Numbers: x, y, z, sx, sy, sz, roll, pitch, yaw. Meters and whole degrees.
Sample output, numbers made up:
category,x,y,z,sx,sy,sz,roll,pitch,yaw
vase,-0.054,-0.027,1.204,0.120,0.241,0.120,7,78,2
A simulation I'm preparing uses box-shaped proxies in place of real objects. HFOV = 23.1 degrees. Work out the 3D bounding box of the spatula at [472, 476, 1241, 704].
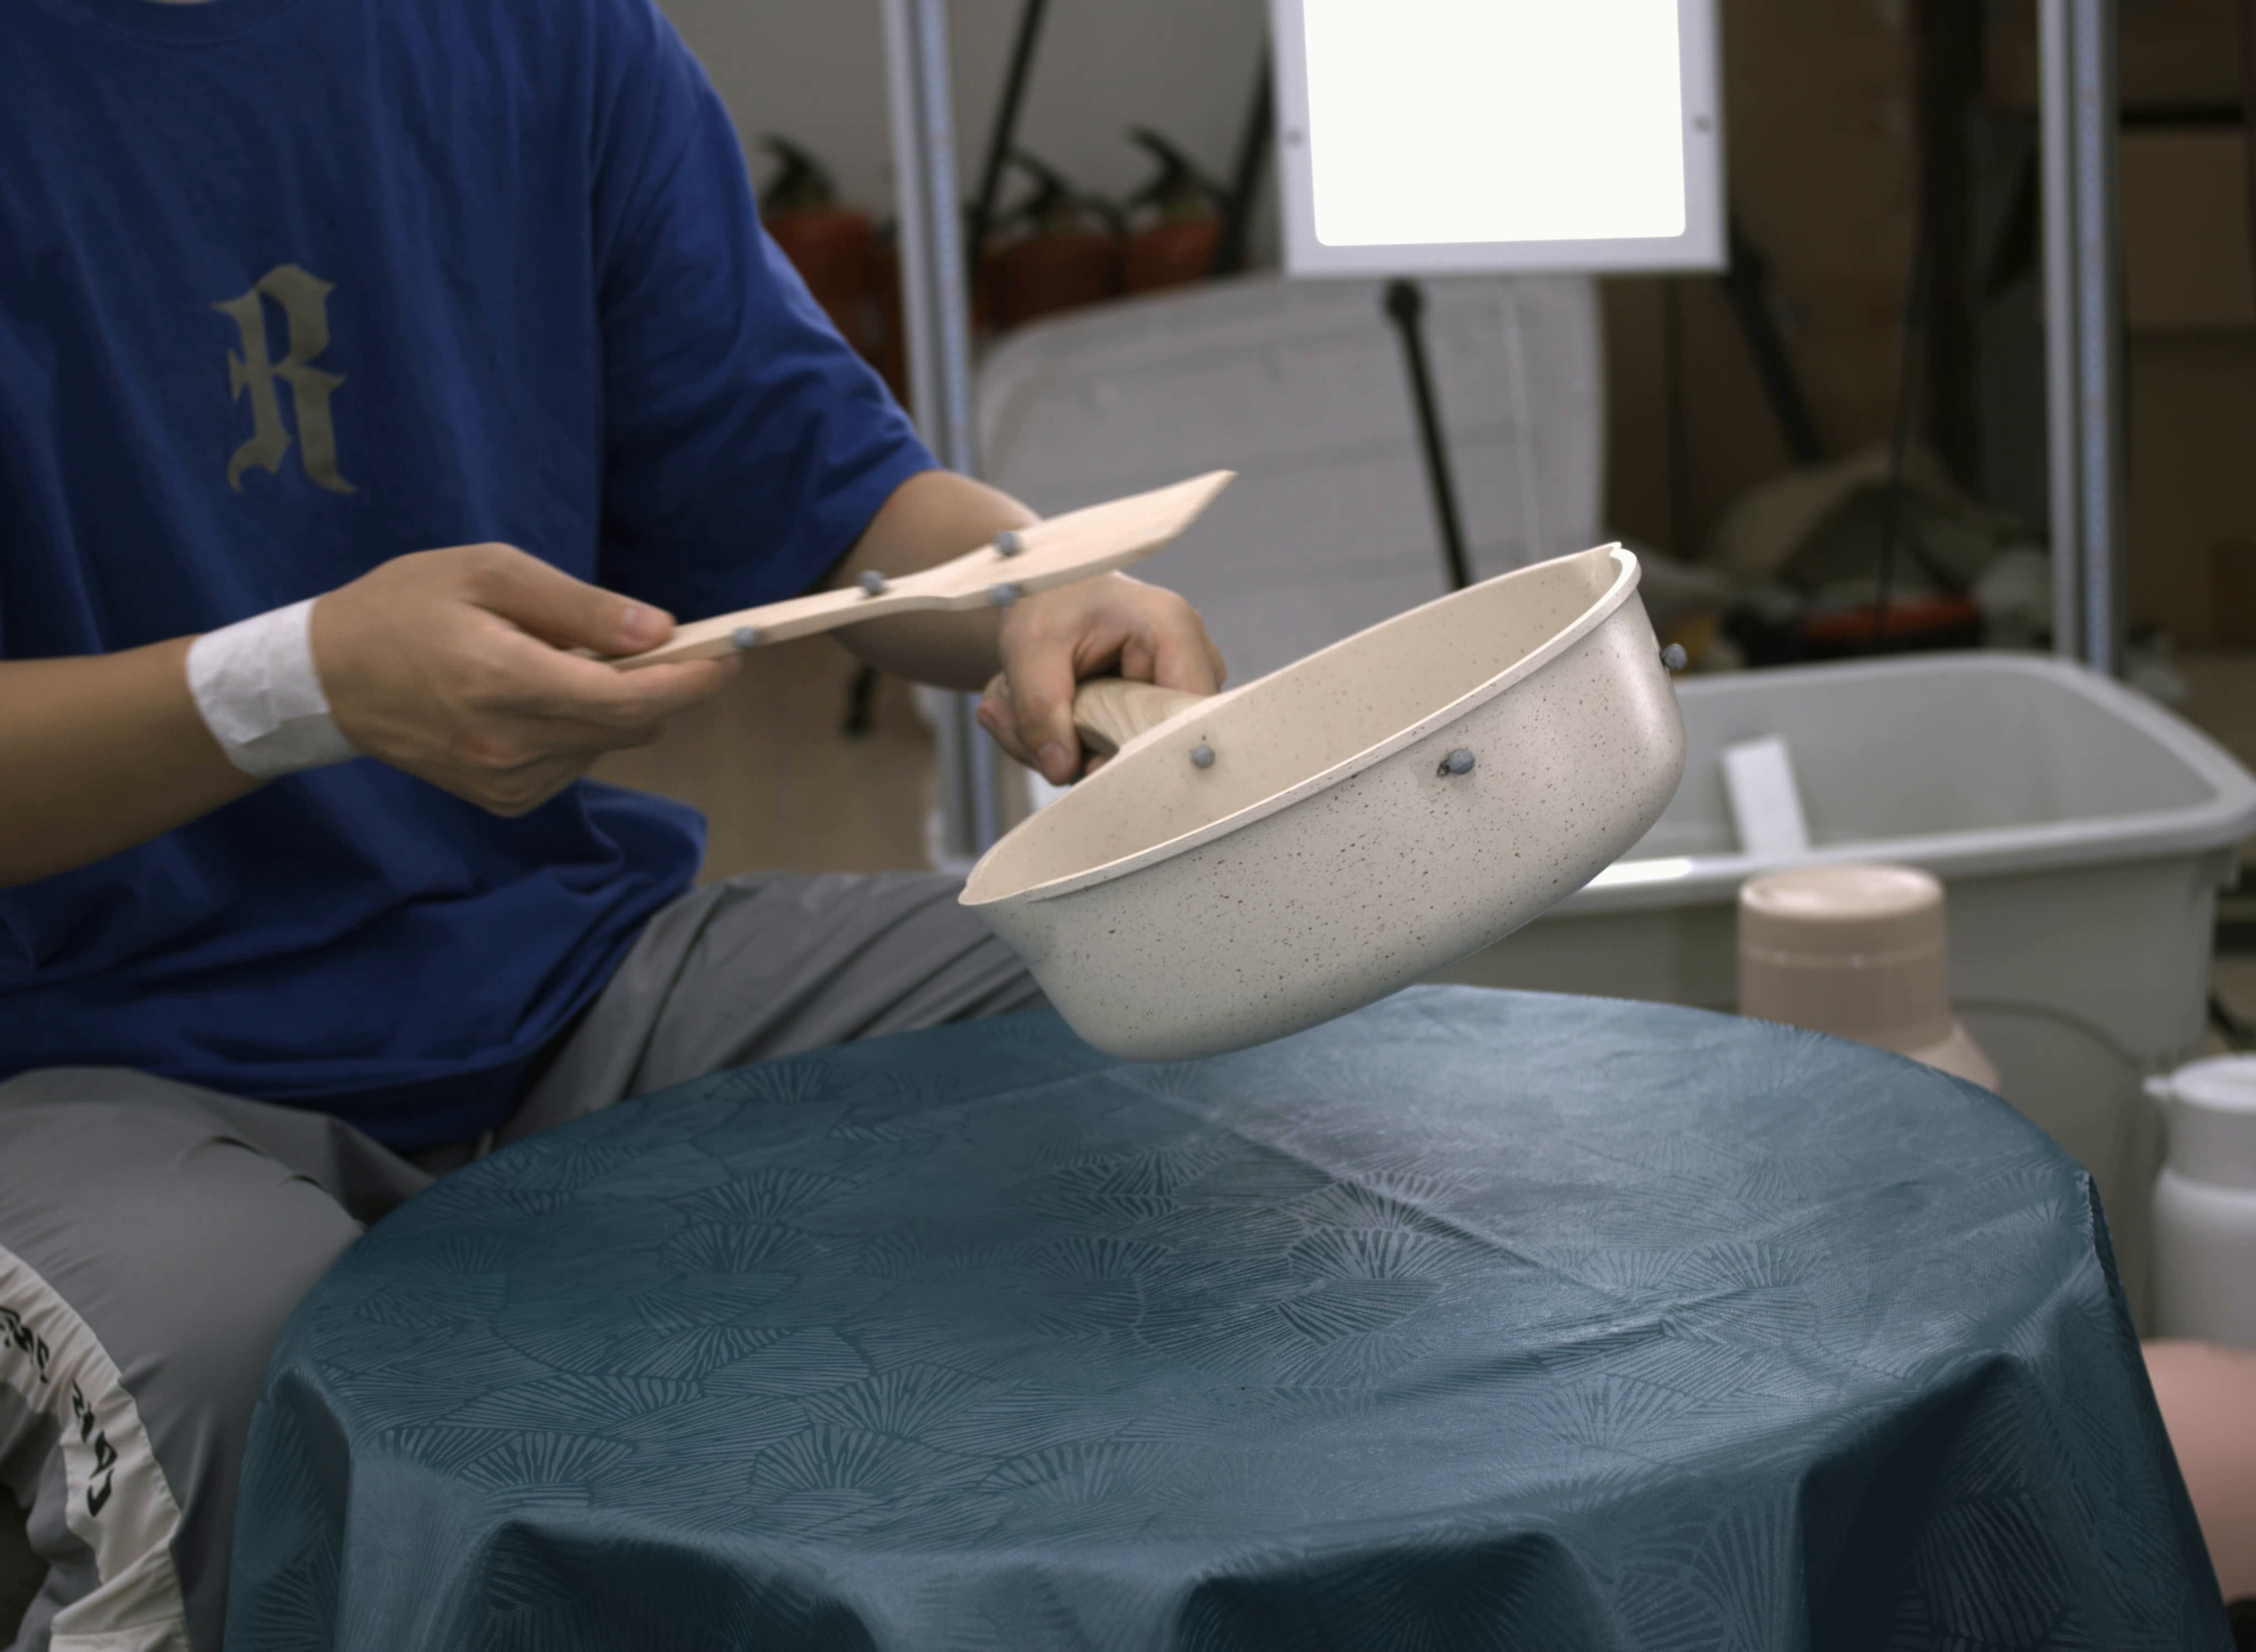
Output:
category,x,y,z,sx,sy,sz,roll,pitch,yaw
spatula,-0.100,-0.075,1.881,0.298,0.010,0.071,-12,18,27

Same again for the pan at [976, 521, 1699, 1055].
category,x,y,z,sx,sy,sz,roll,pitch,yaw
pan,0.046,-0.012,1.939,0.260,0.102,0.441,-31,9,-16
